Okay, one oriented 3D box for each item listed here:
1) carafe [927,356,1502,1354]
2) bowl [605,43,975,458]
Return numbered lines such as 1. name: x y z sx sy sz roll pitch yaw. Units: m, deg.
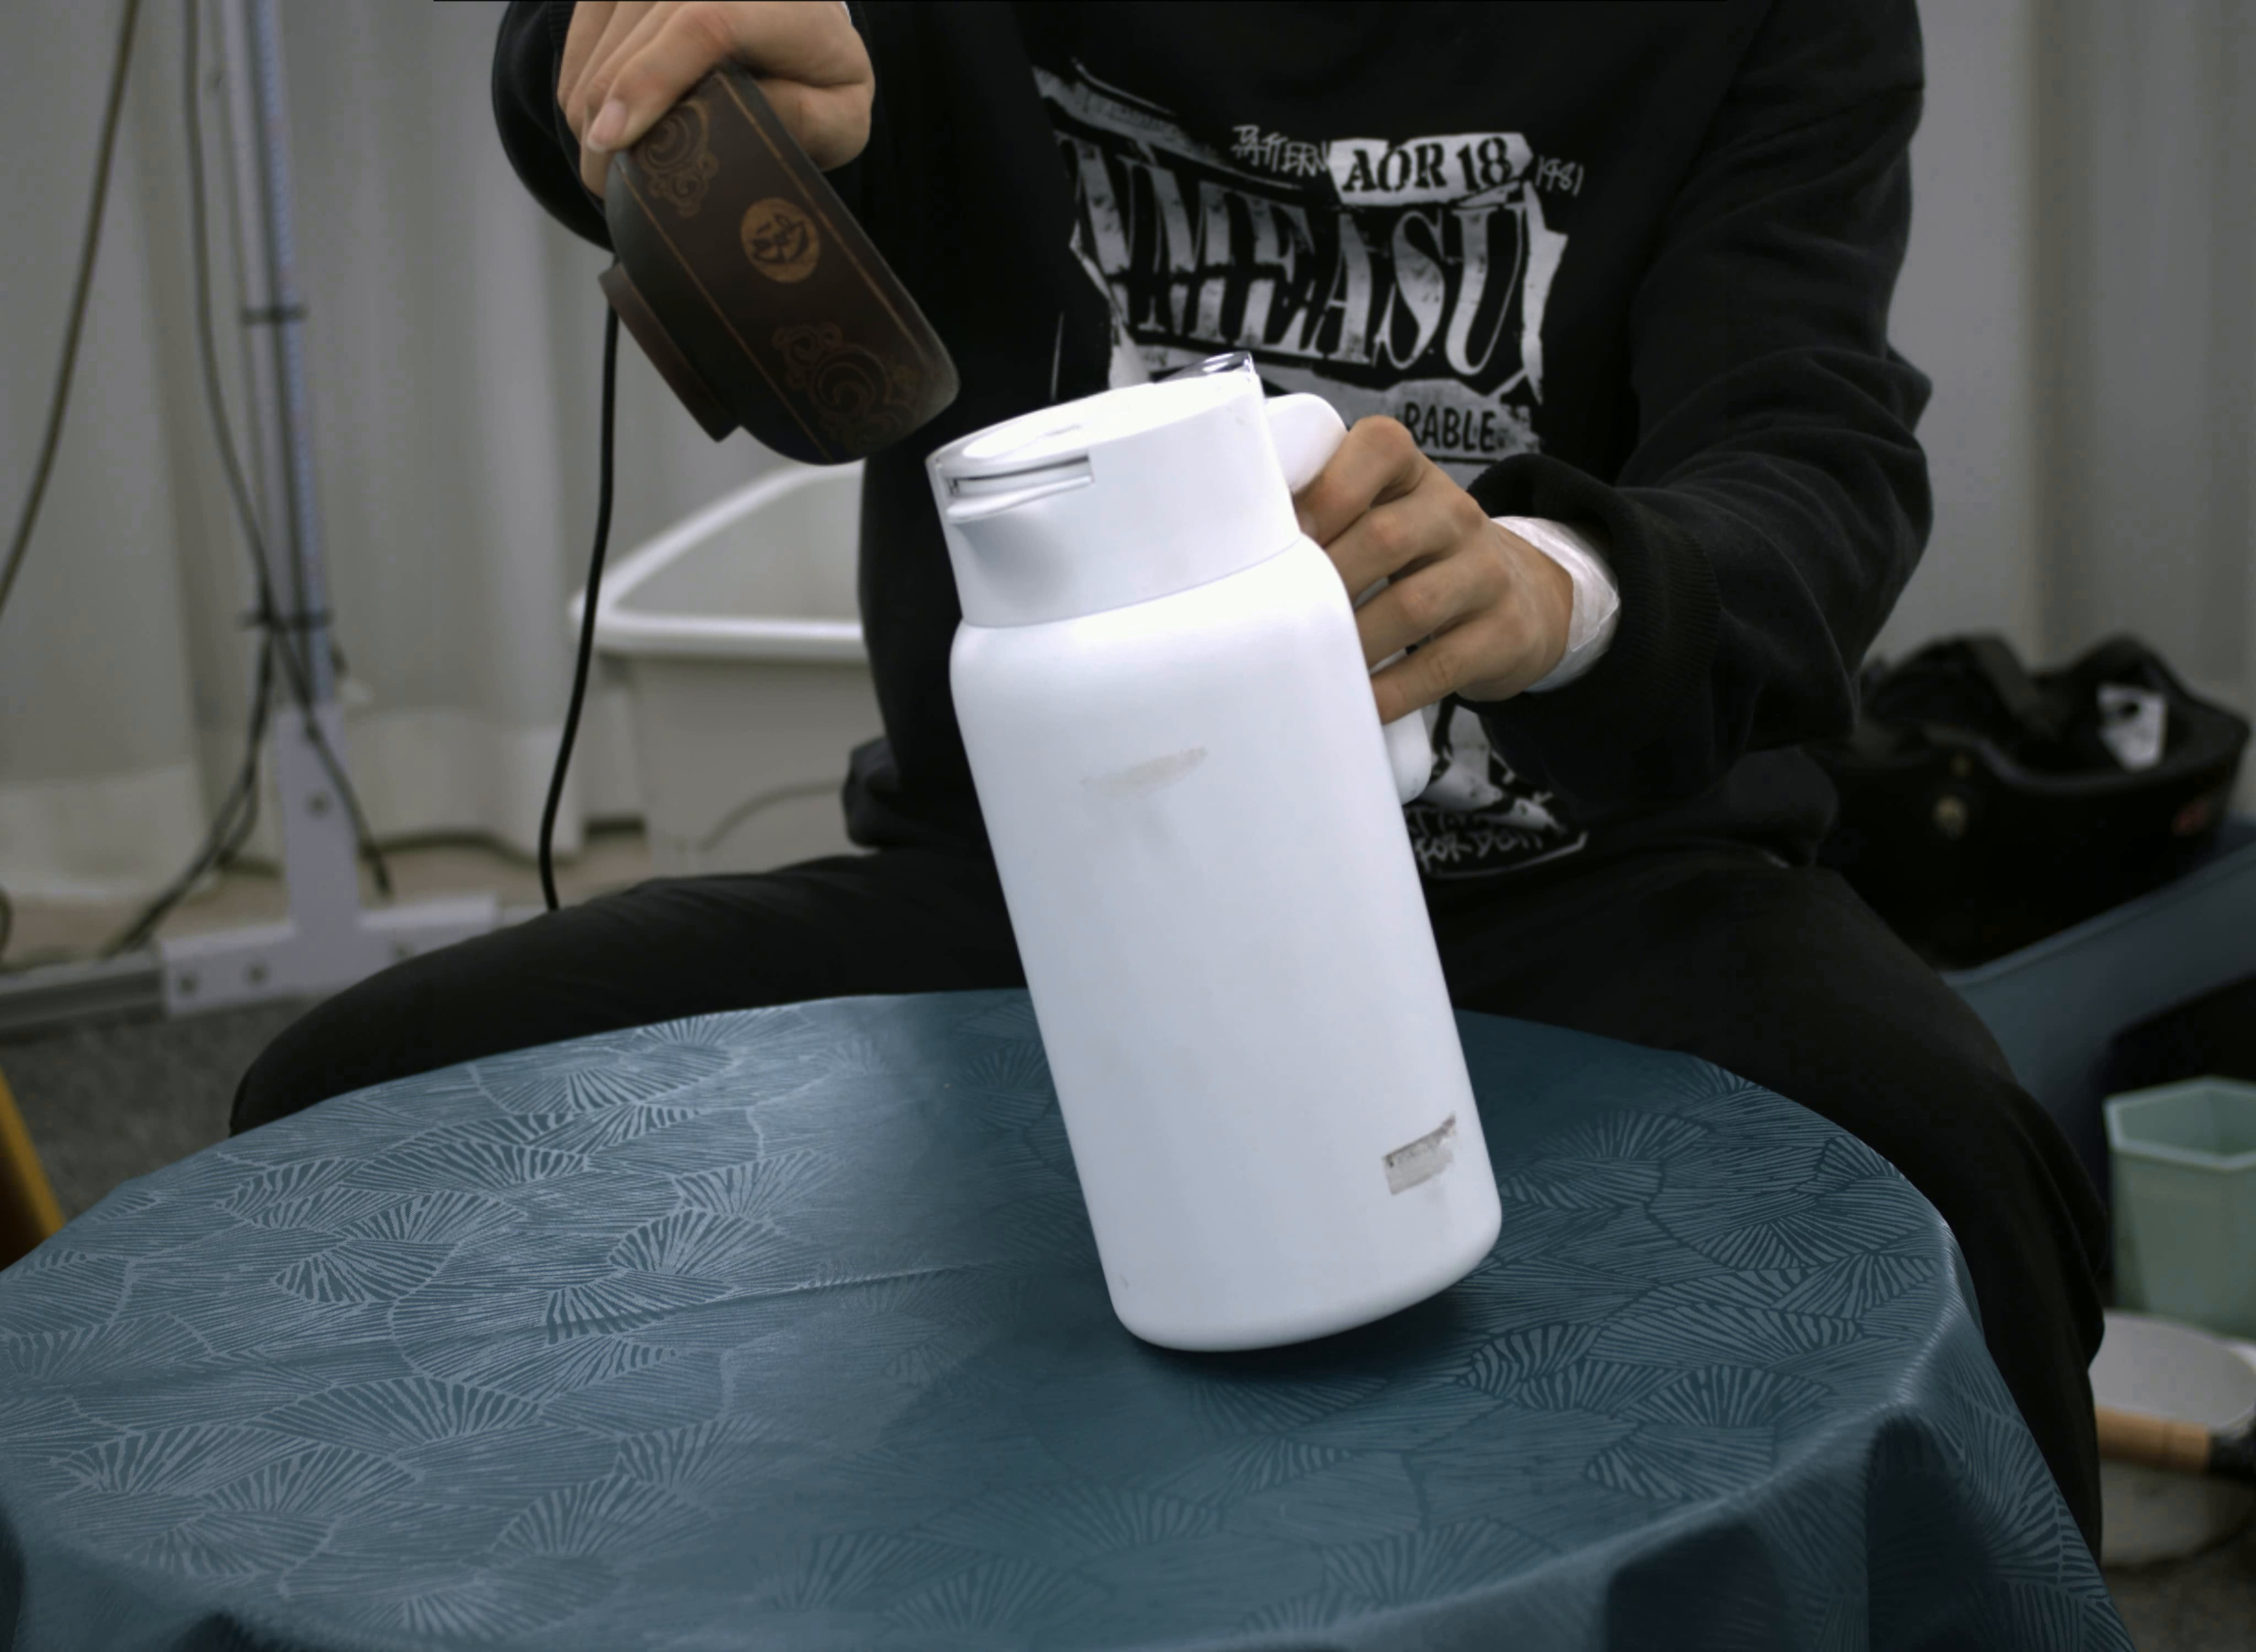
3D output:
1. carafe: 0.030 0.004 1.583 0.124 0.268 0.173 -9 12 36
2. bowl: -0.103 -0.153 1.542 0.070 0.117 0.119 -35 16 2
